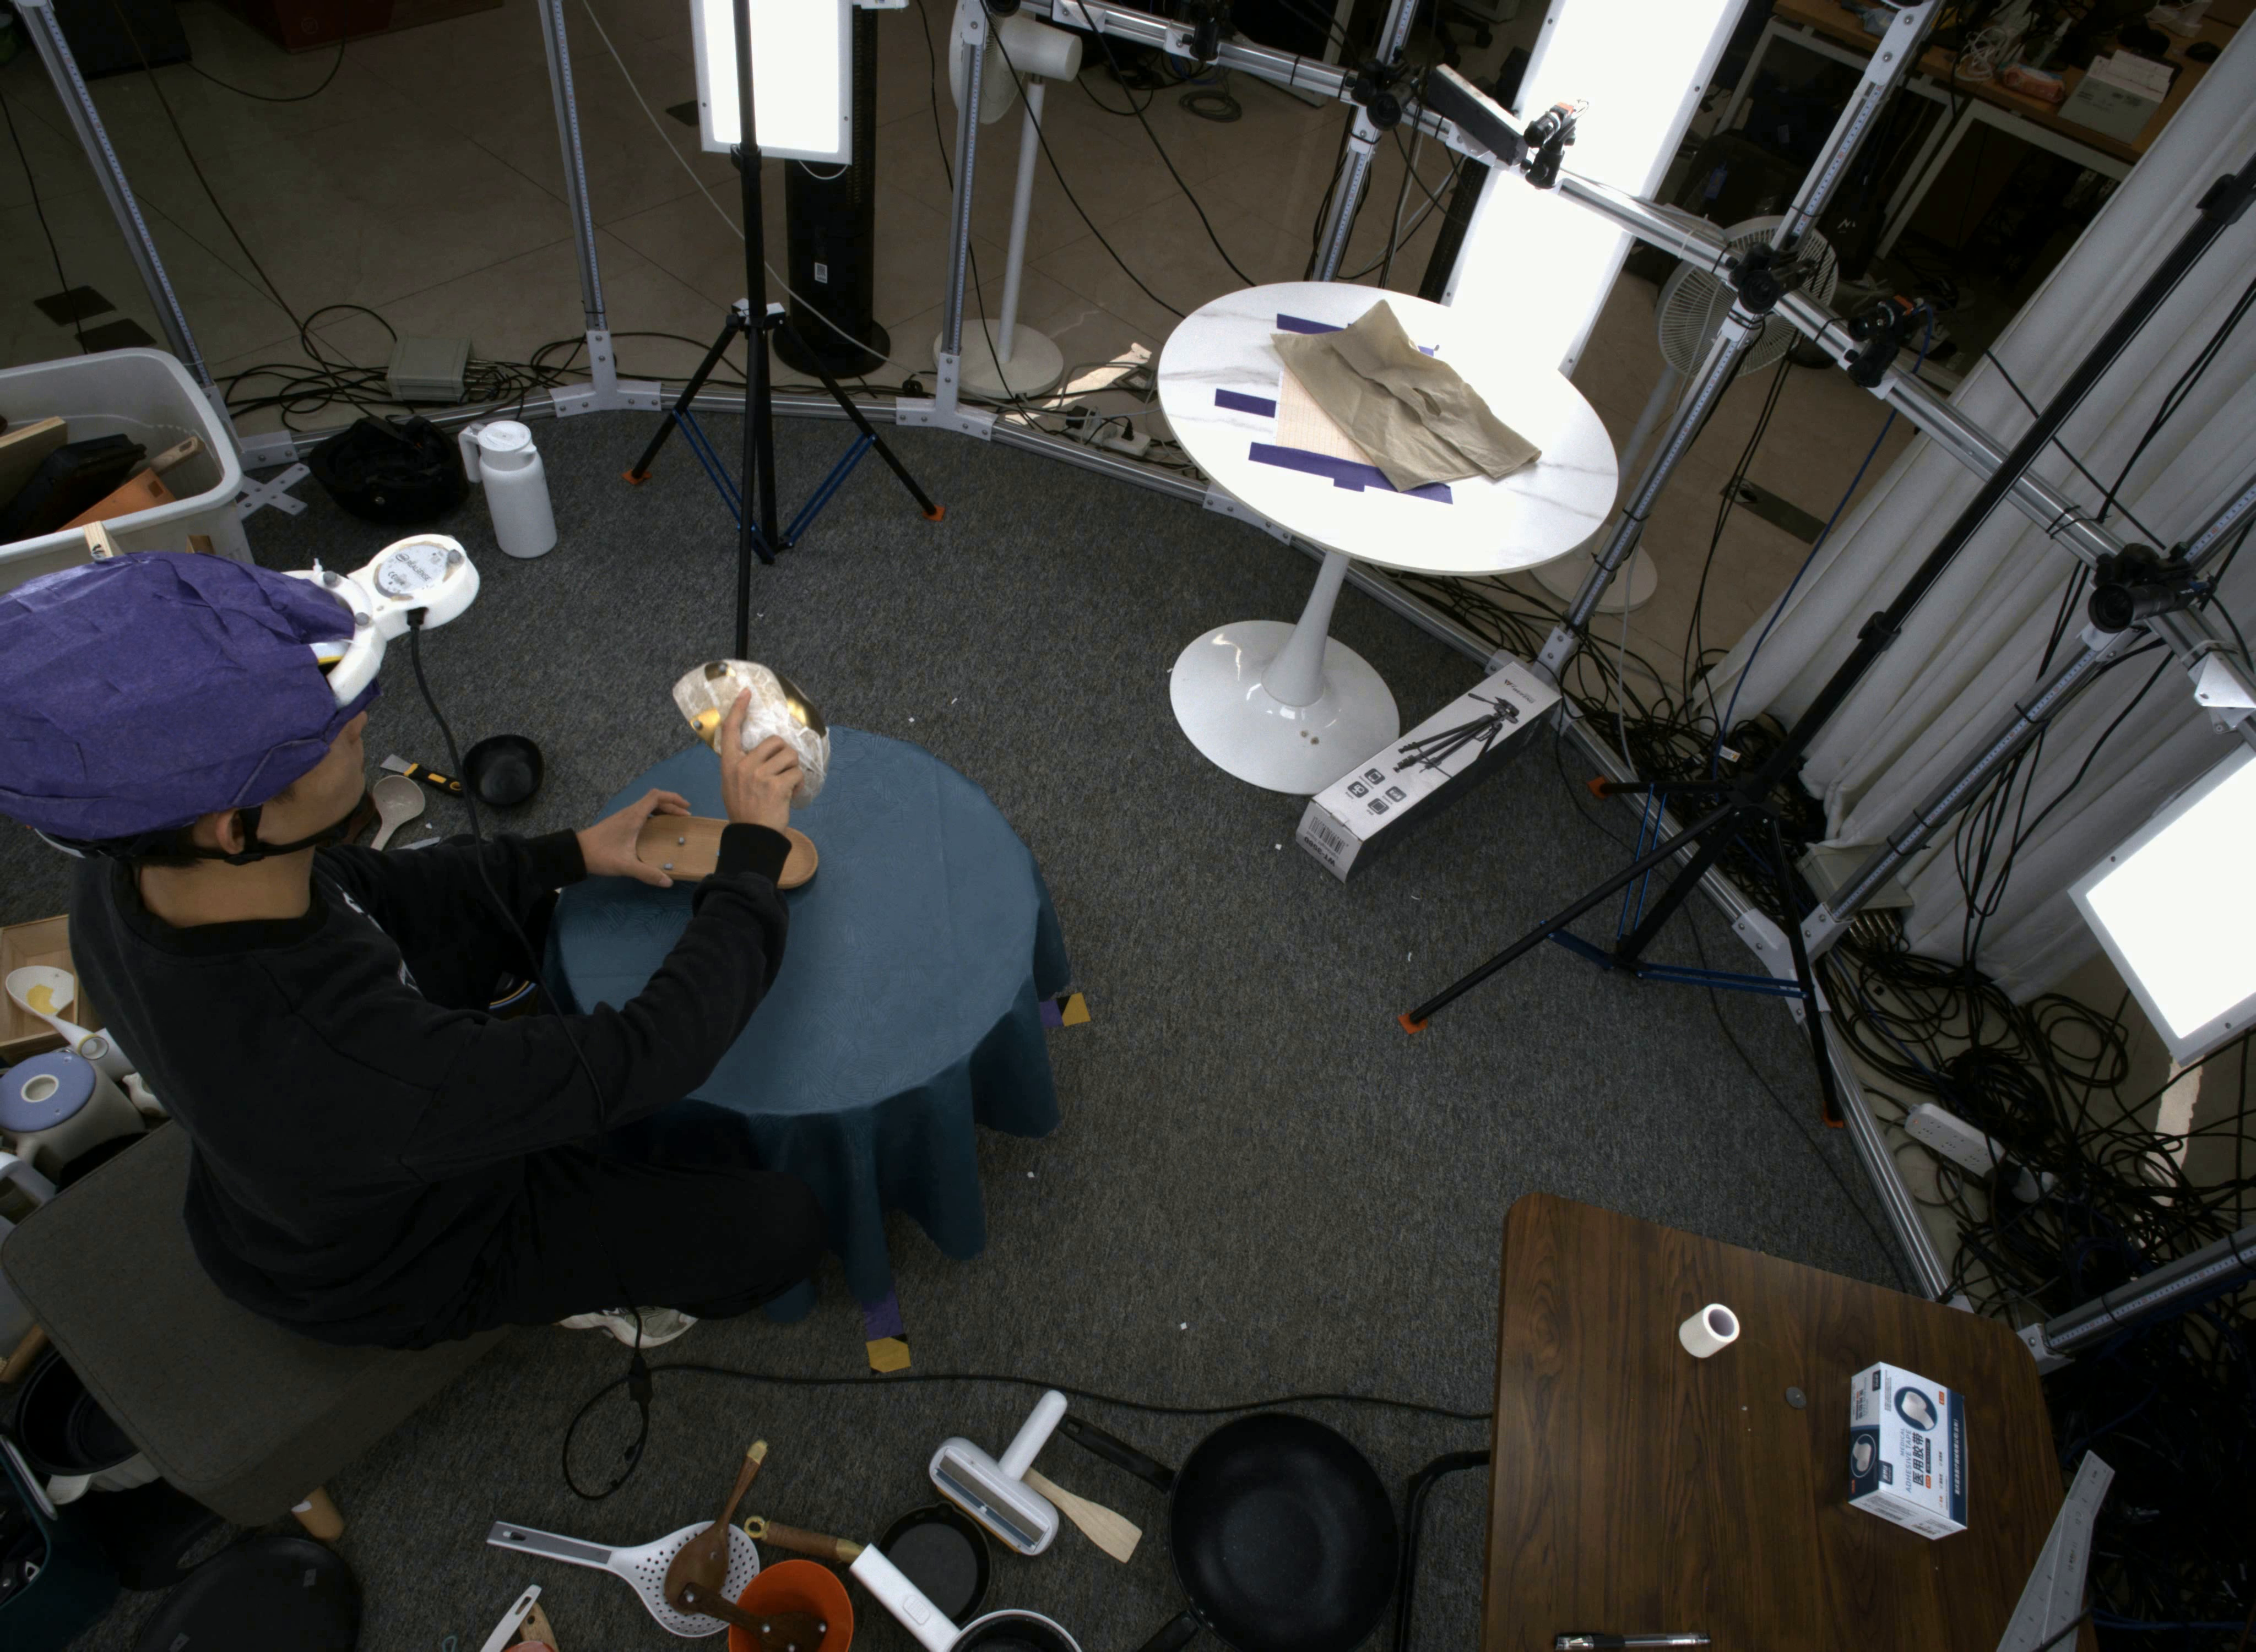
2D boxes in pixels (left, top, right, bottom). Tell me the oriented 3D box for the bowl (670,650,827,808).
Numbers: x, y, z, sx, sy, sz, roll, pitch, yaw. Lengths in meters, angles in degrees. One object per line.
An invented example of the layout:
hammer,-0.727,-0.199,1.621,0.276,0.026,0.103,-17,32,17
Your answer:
bowl,-0.411,-0.127,1.470,0.094,0.220,0.209,-43,67,4

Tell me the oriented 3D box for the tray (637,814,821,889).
tray,-0.507,0.032,1.645,0.234,0.020,0.099,7,48,-27
